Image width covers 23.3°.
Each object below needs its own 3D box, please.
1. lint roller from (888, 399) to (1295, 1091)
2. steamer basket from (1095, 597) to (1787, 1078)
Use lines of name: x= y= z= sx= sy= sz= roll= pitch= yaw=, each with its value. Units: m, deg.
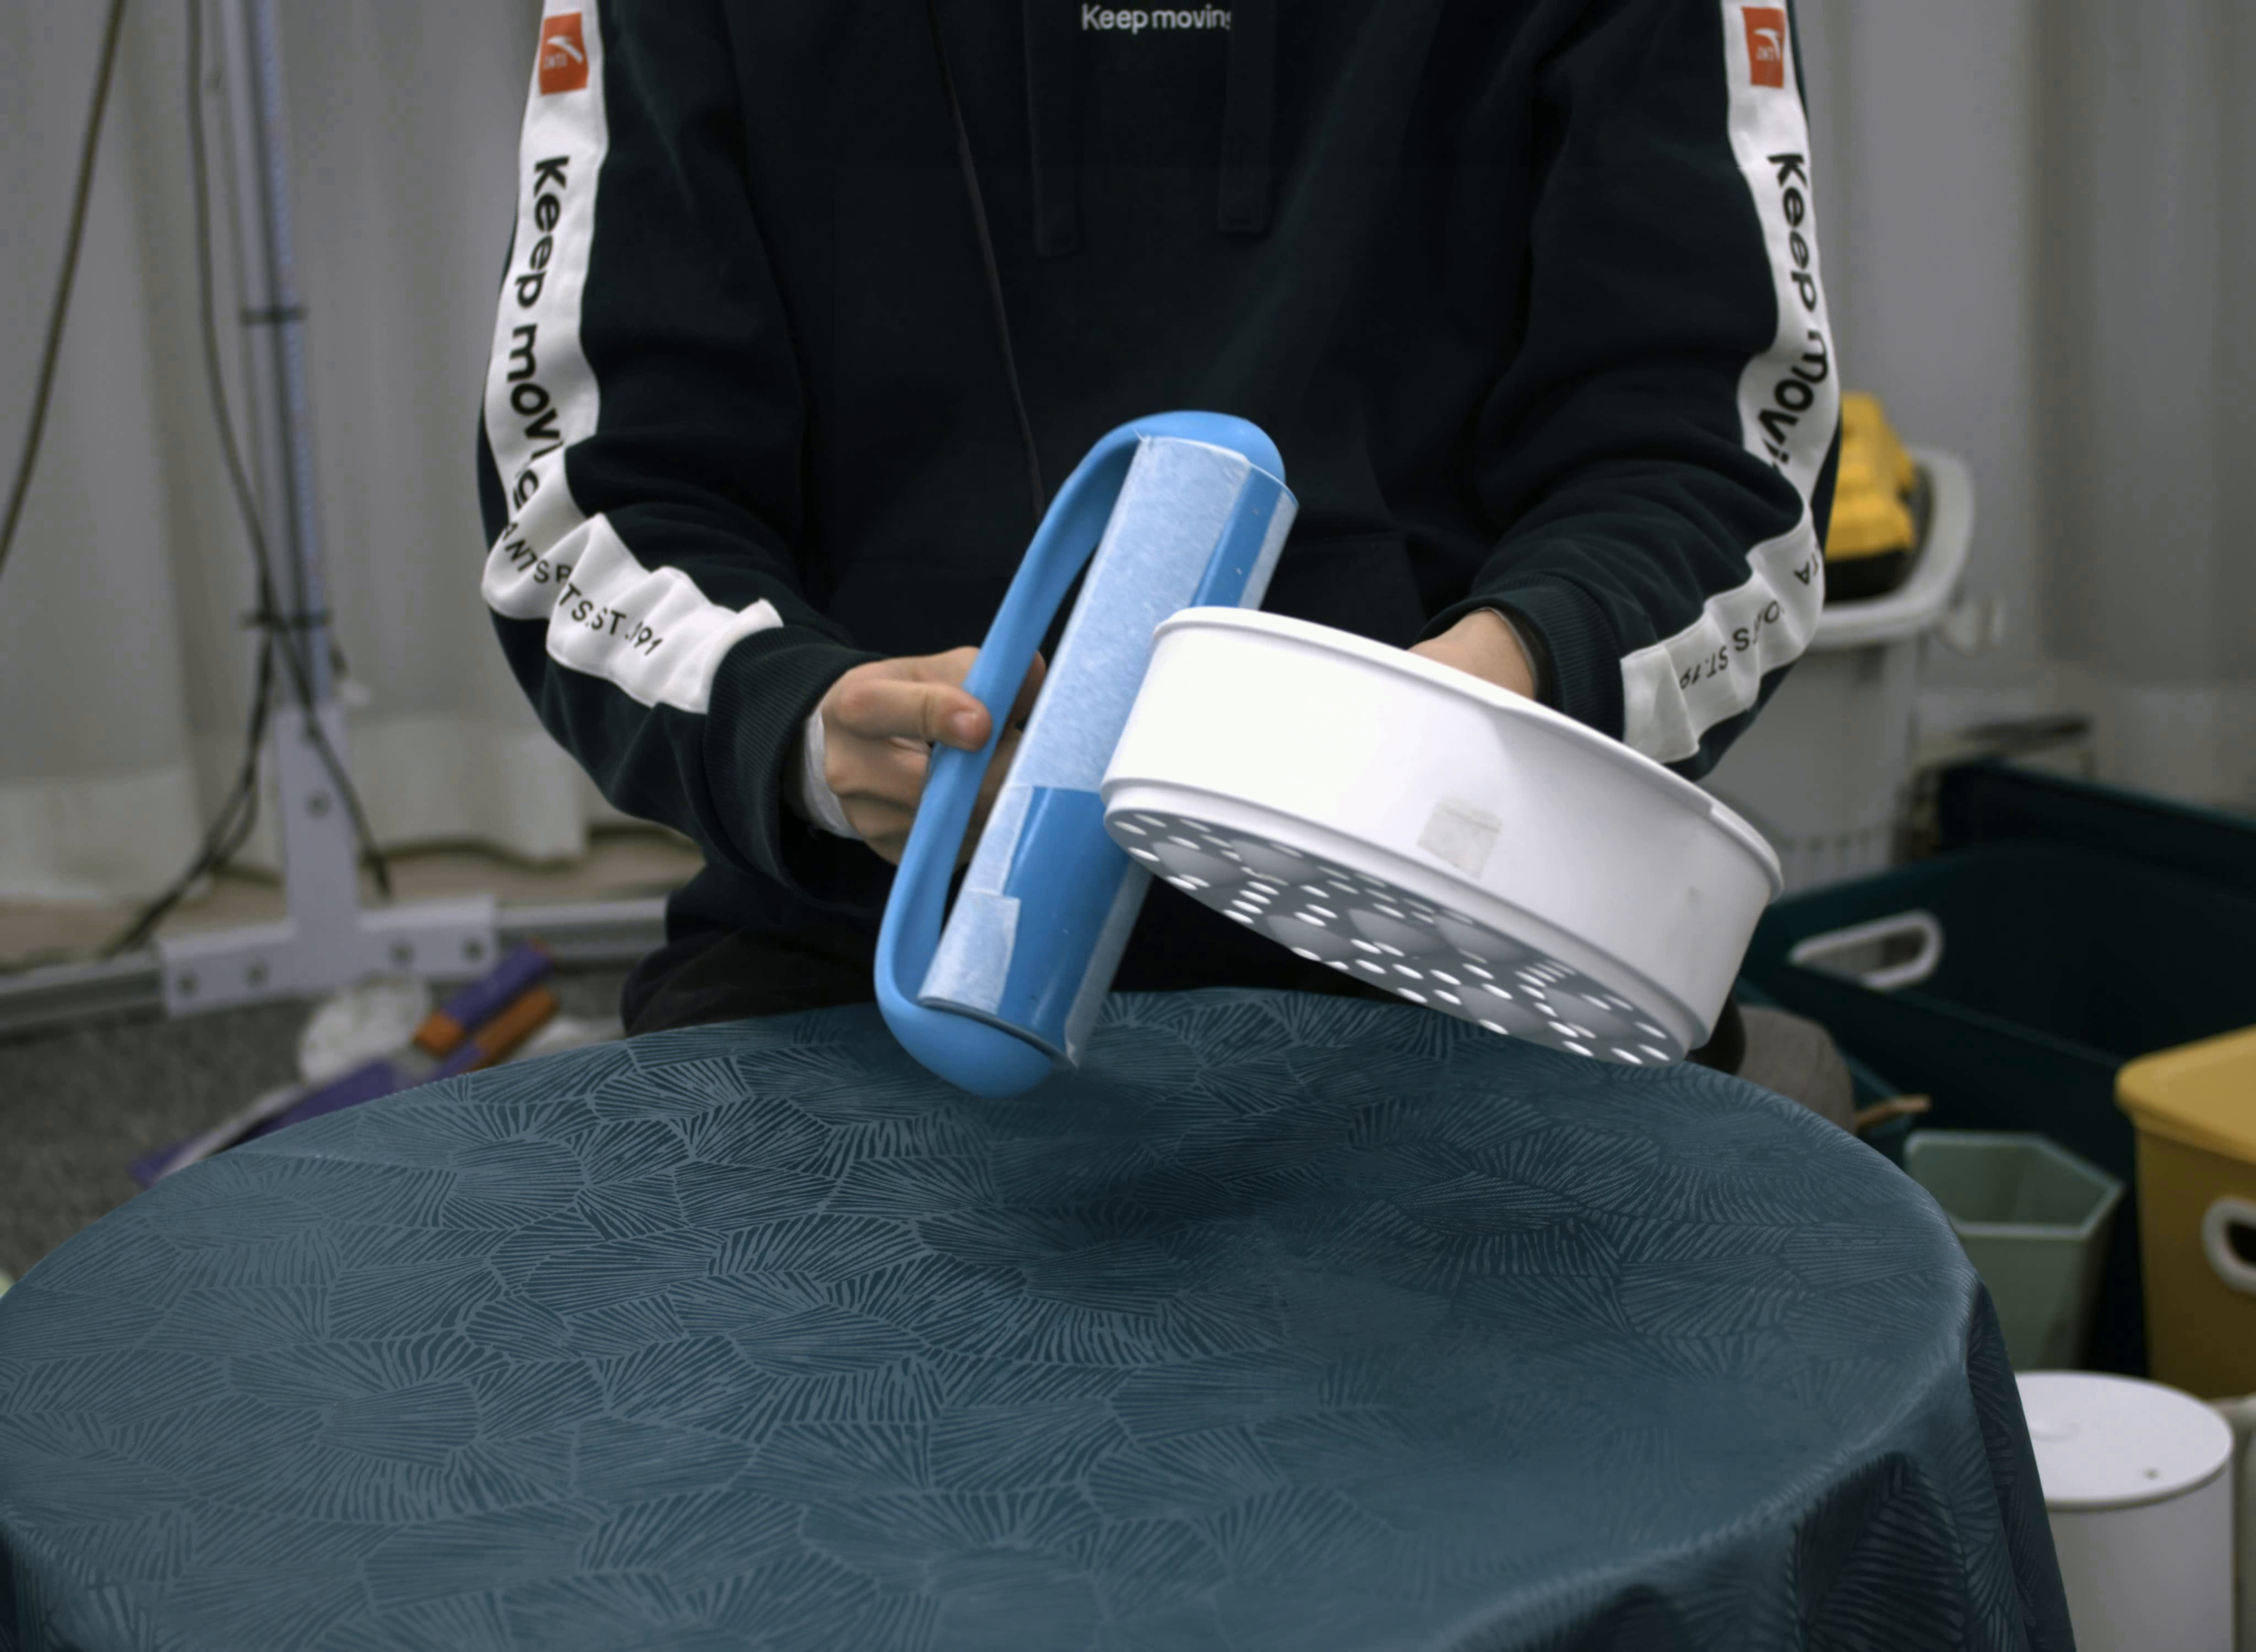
lint roller: x=-0.029 y=-0.018 z=1.734 sx=0.067 sy=0.231 sz=0.180 roll=24 pitch=-18 yaw=-19
steamer basket: x=0.089 y=0.008 z=1.602 sx=0.200 sy=0.069 sz=0.231 roll=28 pitch=-12 yaw=-18
